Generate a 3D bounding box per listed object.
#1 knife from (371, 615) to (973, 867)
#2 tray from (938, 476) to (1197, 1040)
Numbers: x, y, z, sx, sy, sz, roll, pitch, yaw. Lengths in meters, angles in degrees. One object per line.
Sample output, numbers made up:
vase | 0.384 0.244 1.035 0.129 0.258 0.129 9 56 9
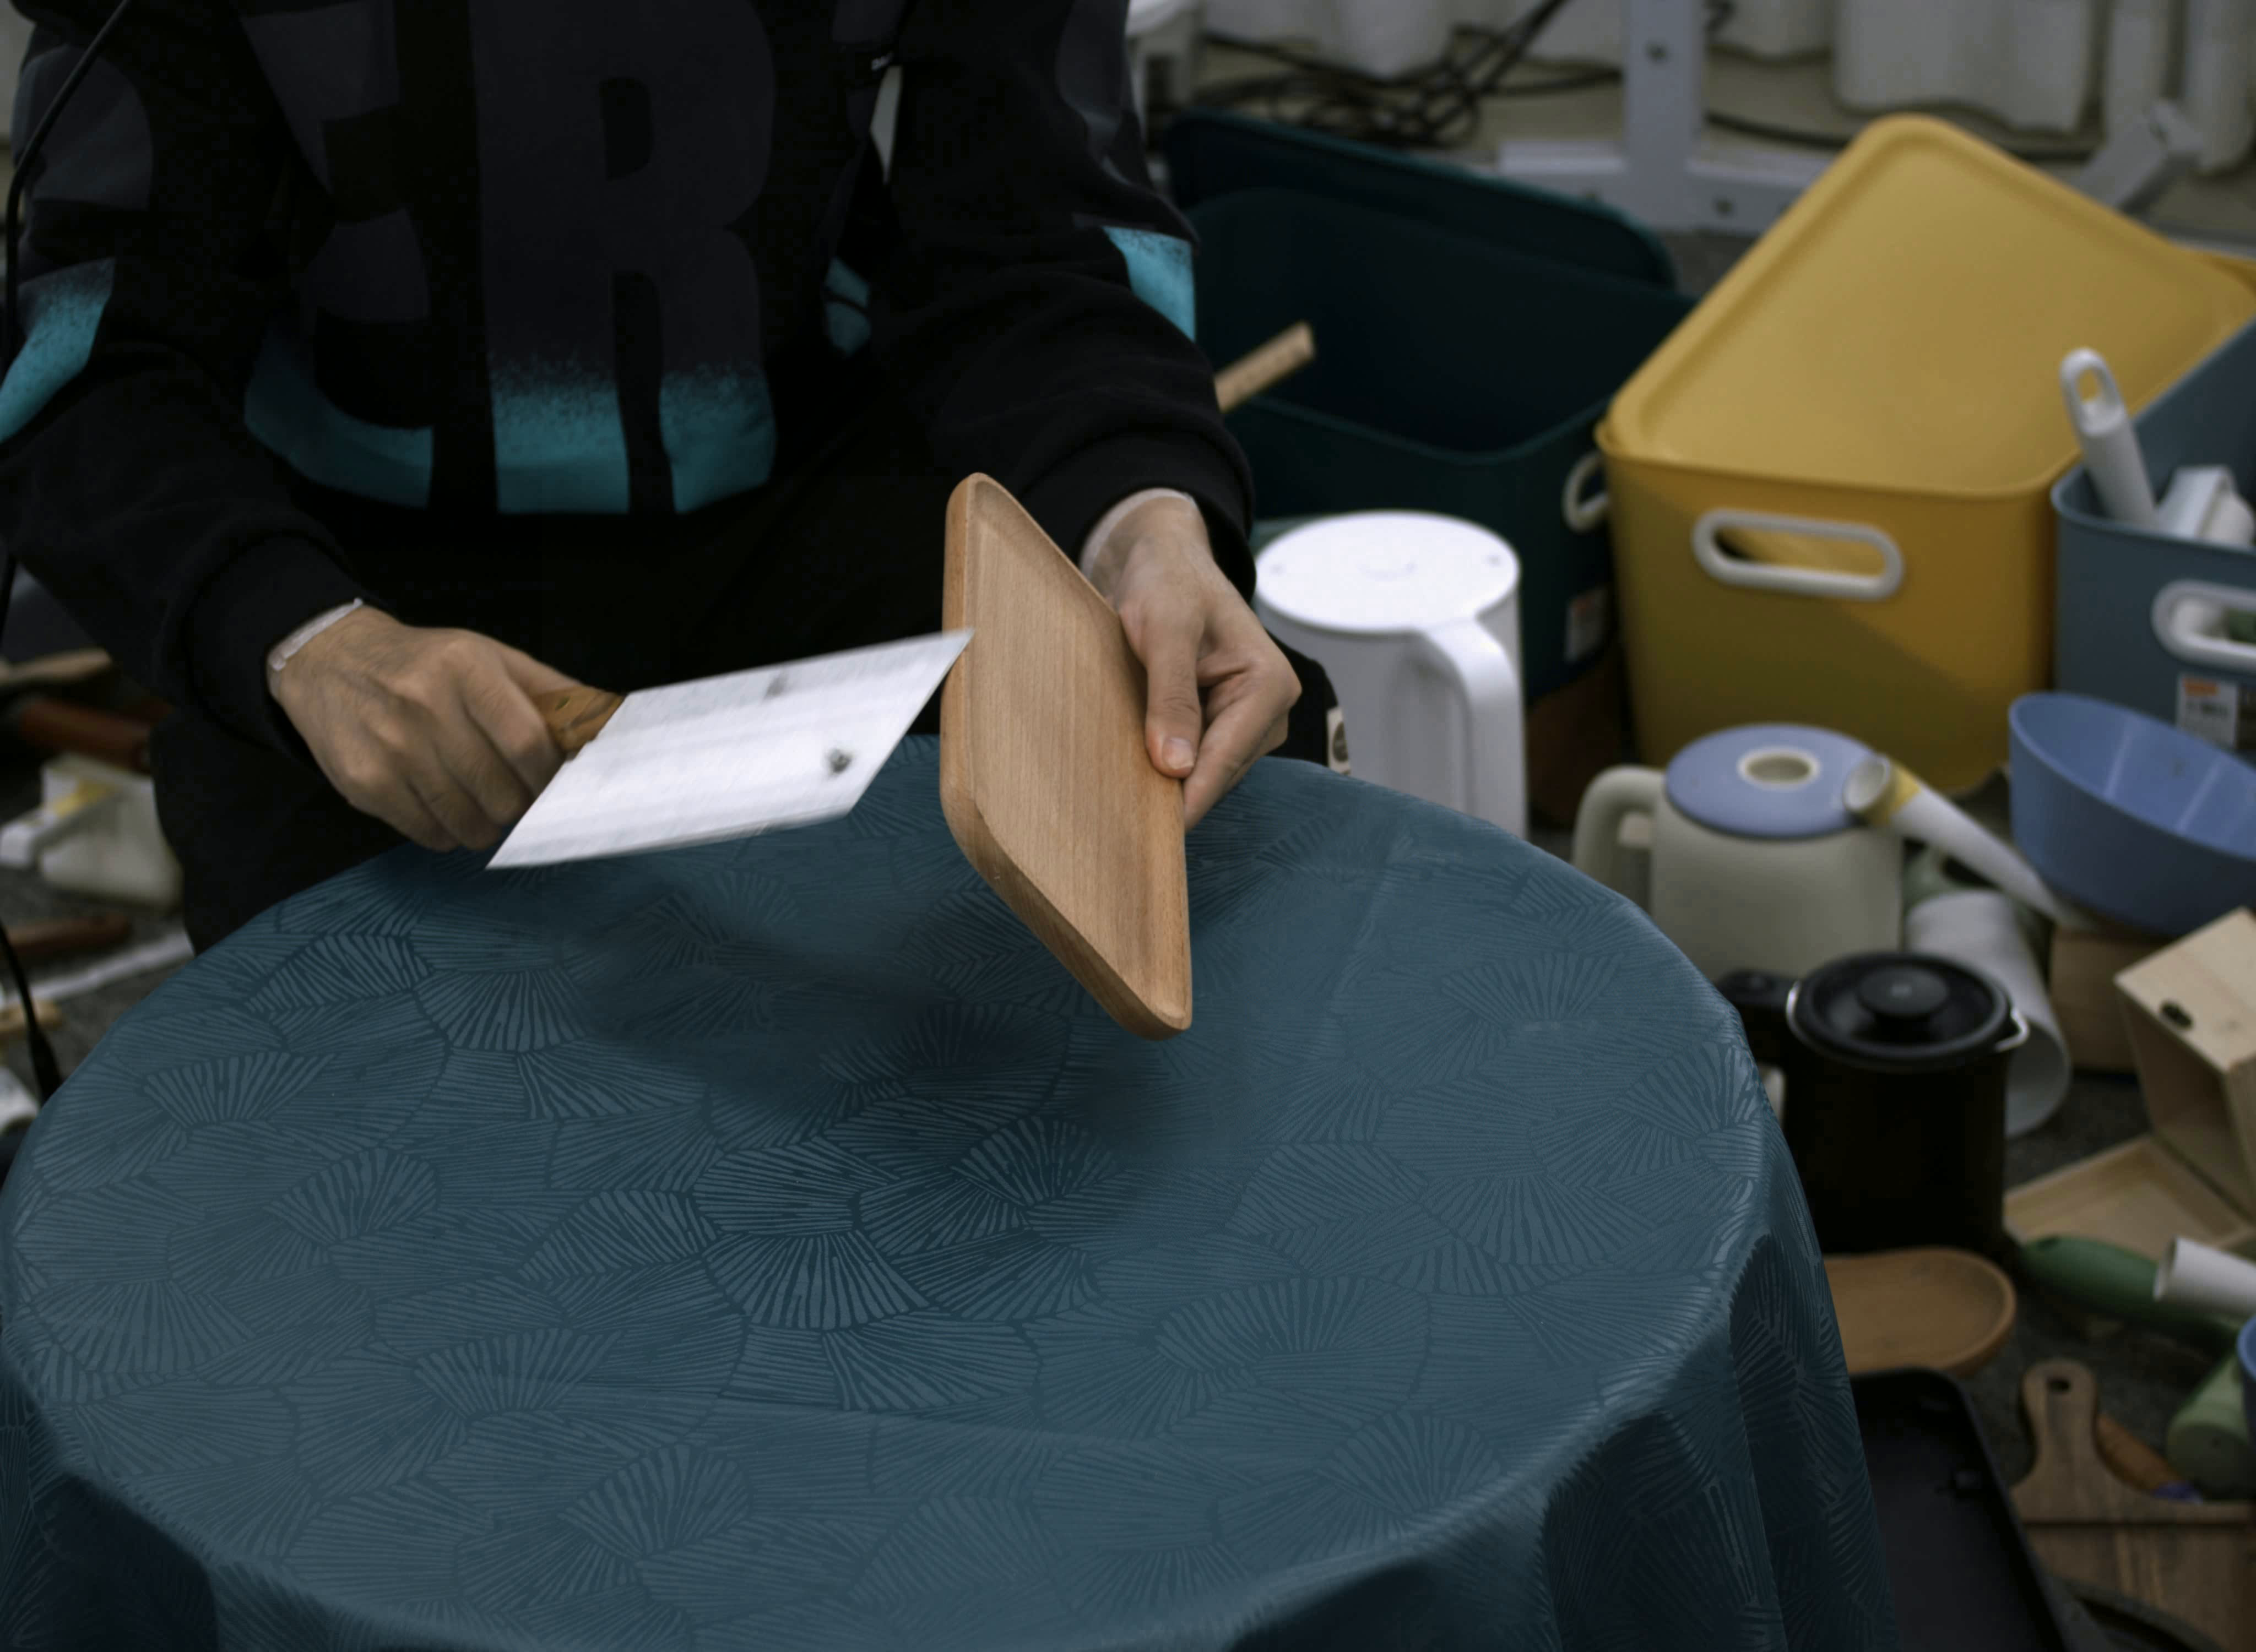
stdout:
knife | -0.176 -0.023 1.983 0.302 0.021 0.095 -10 37 43
tray | -0.022 -0.026 1.946 0.022 0.130 0.254 -32 24 15
